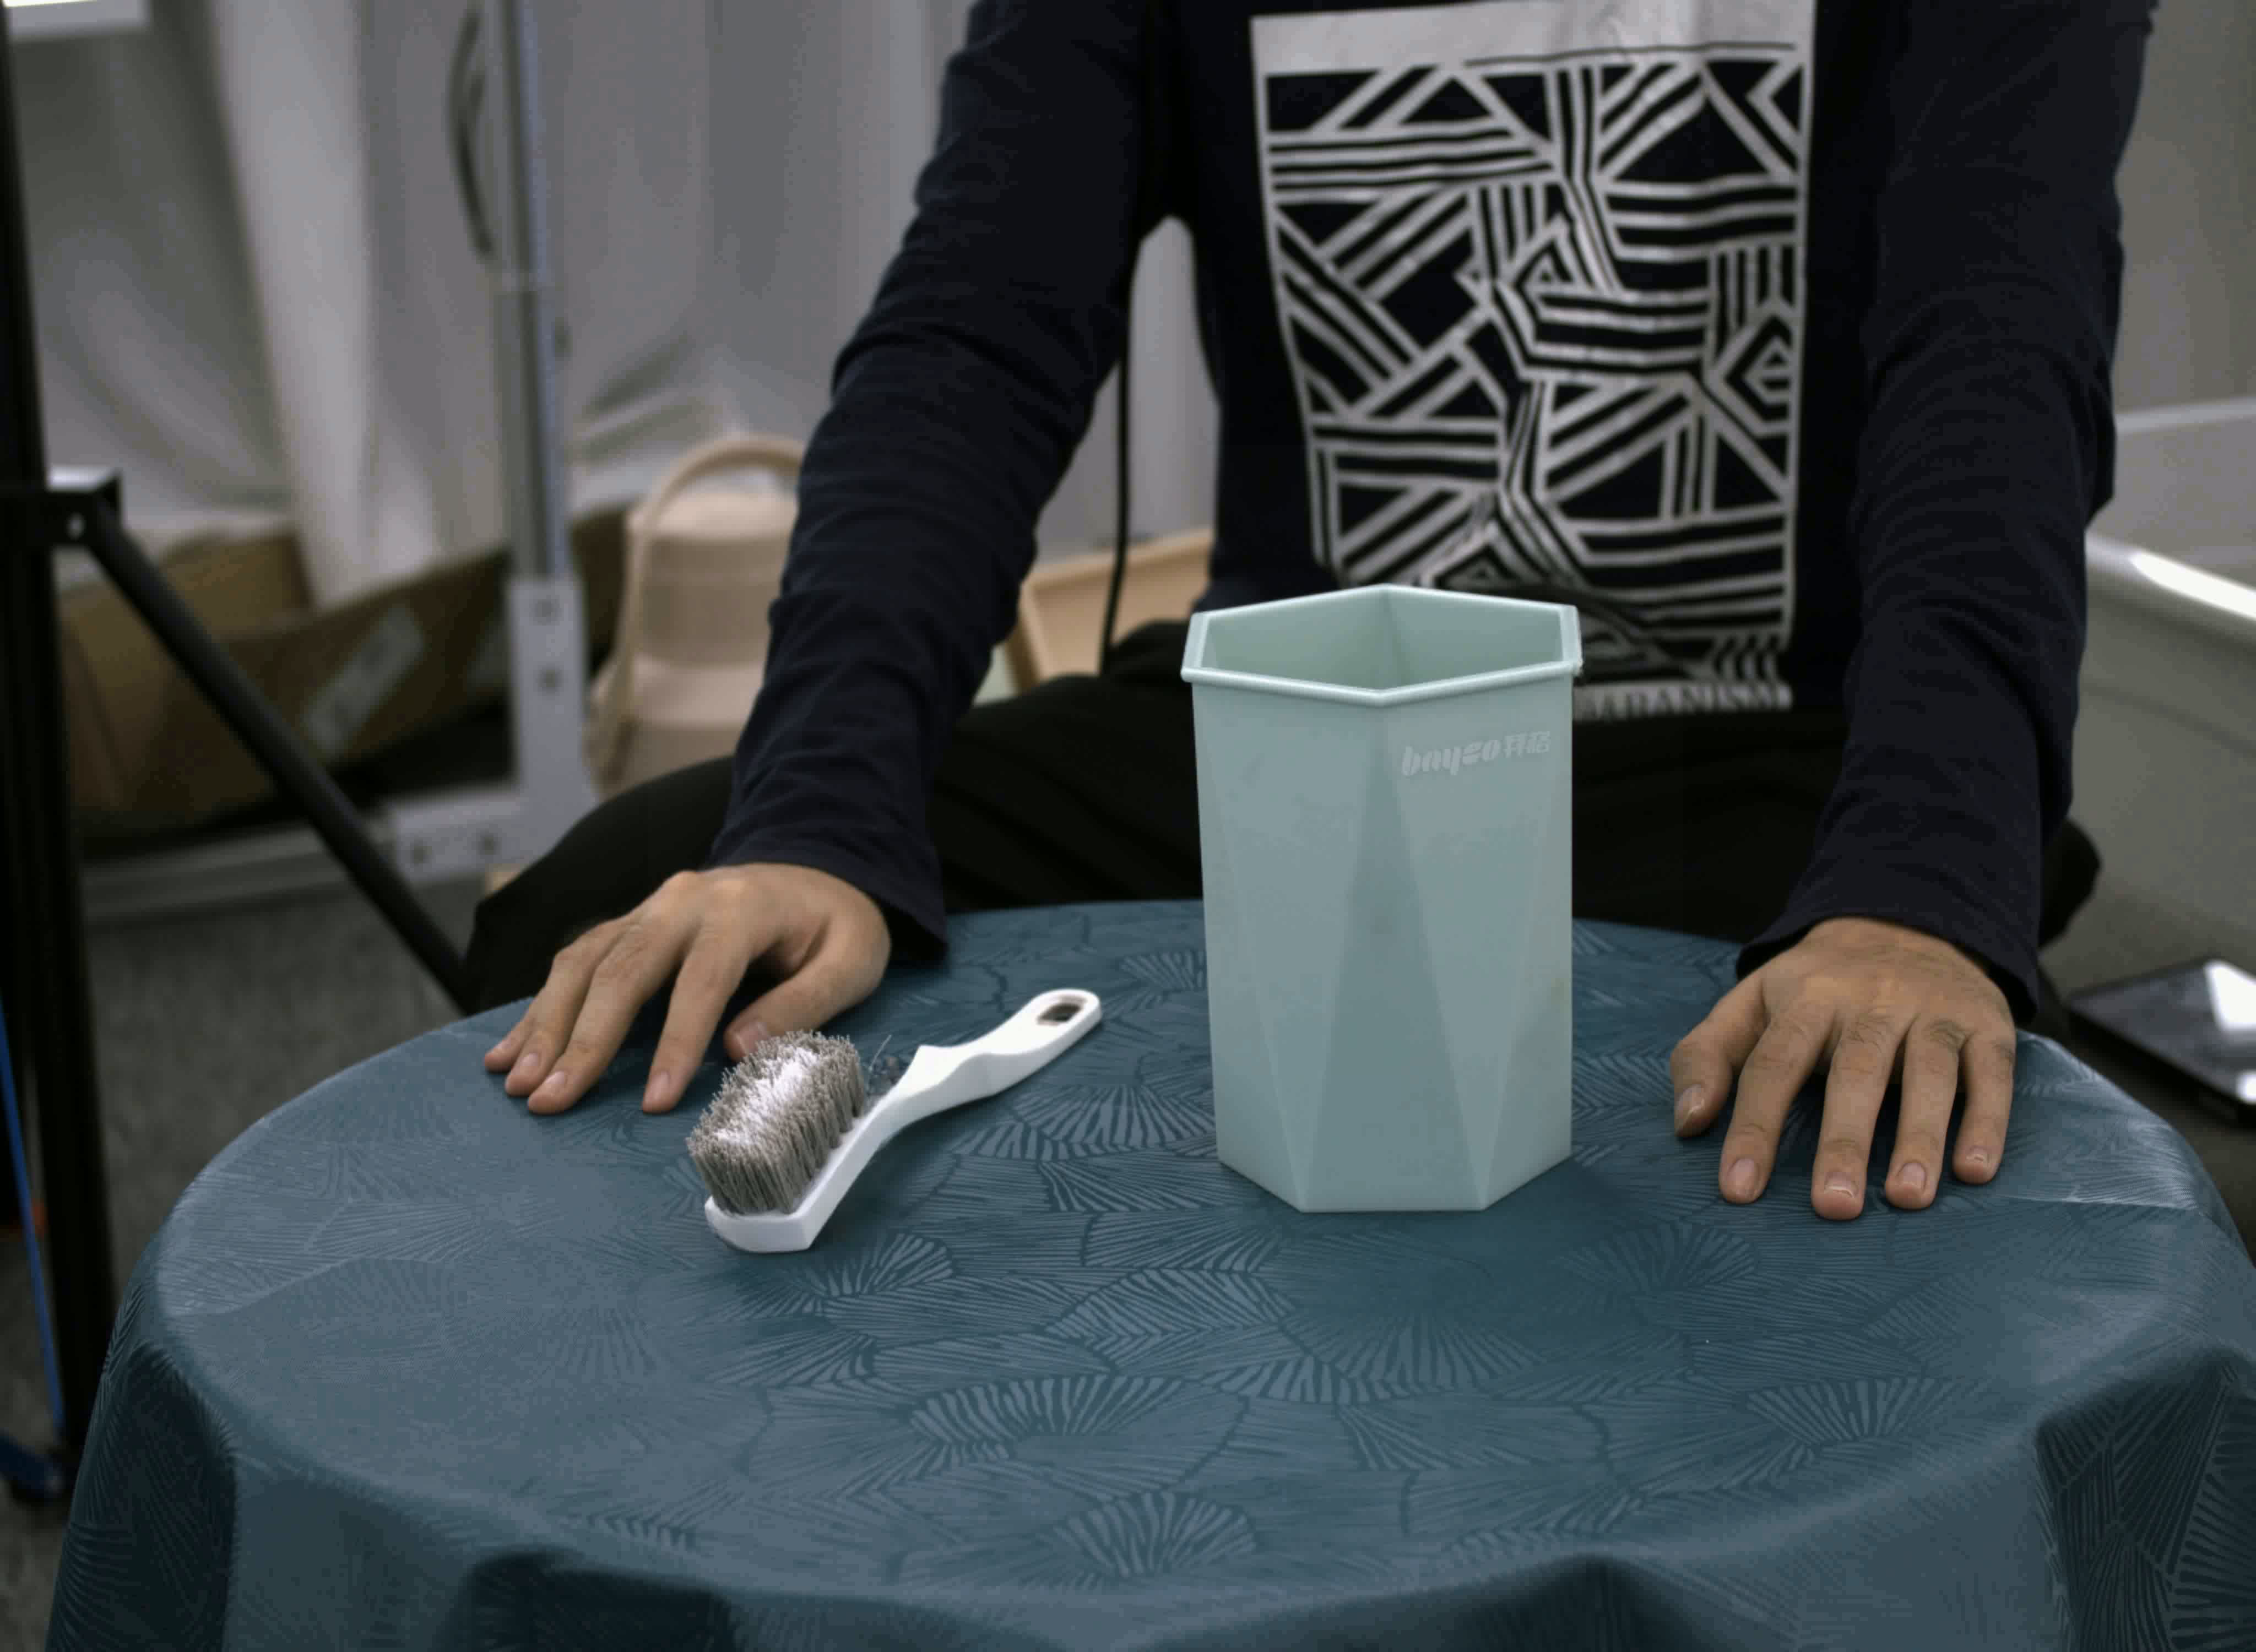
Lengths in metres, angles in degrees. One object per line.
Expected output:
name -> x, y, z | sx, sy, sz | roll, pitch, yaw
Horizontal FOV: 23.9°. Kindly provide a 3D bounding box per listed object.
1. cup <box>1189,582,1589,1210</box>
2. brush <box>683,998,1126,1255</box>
cup -> 0.078, 0.021, 1.556 | 0.128, 0.163, 0.117 | -9, 16, -26
brush -> -0.062, 0.071, 1.615 | 0.035, 0.050, 0.240 | 1, 16, 27
